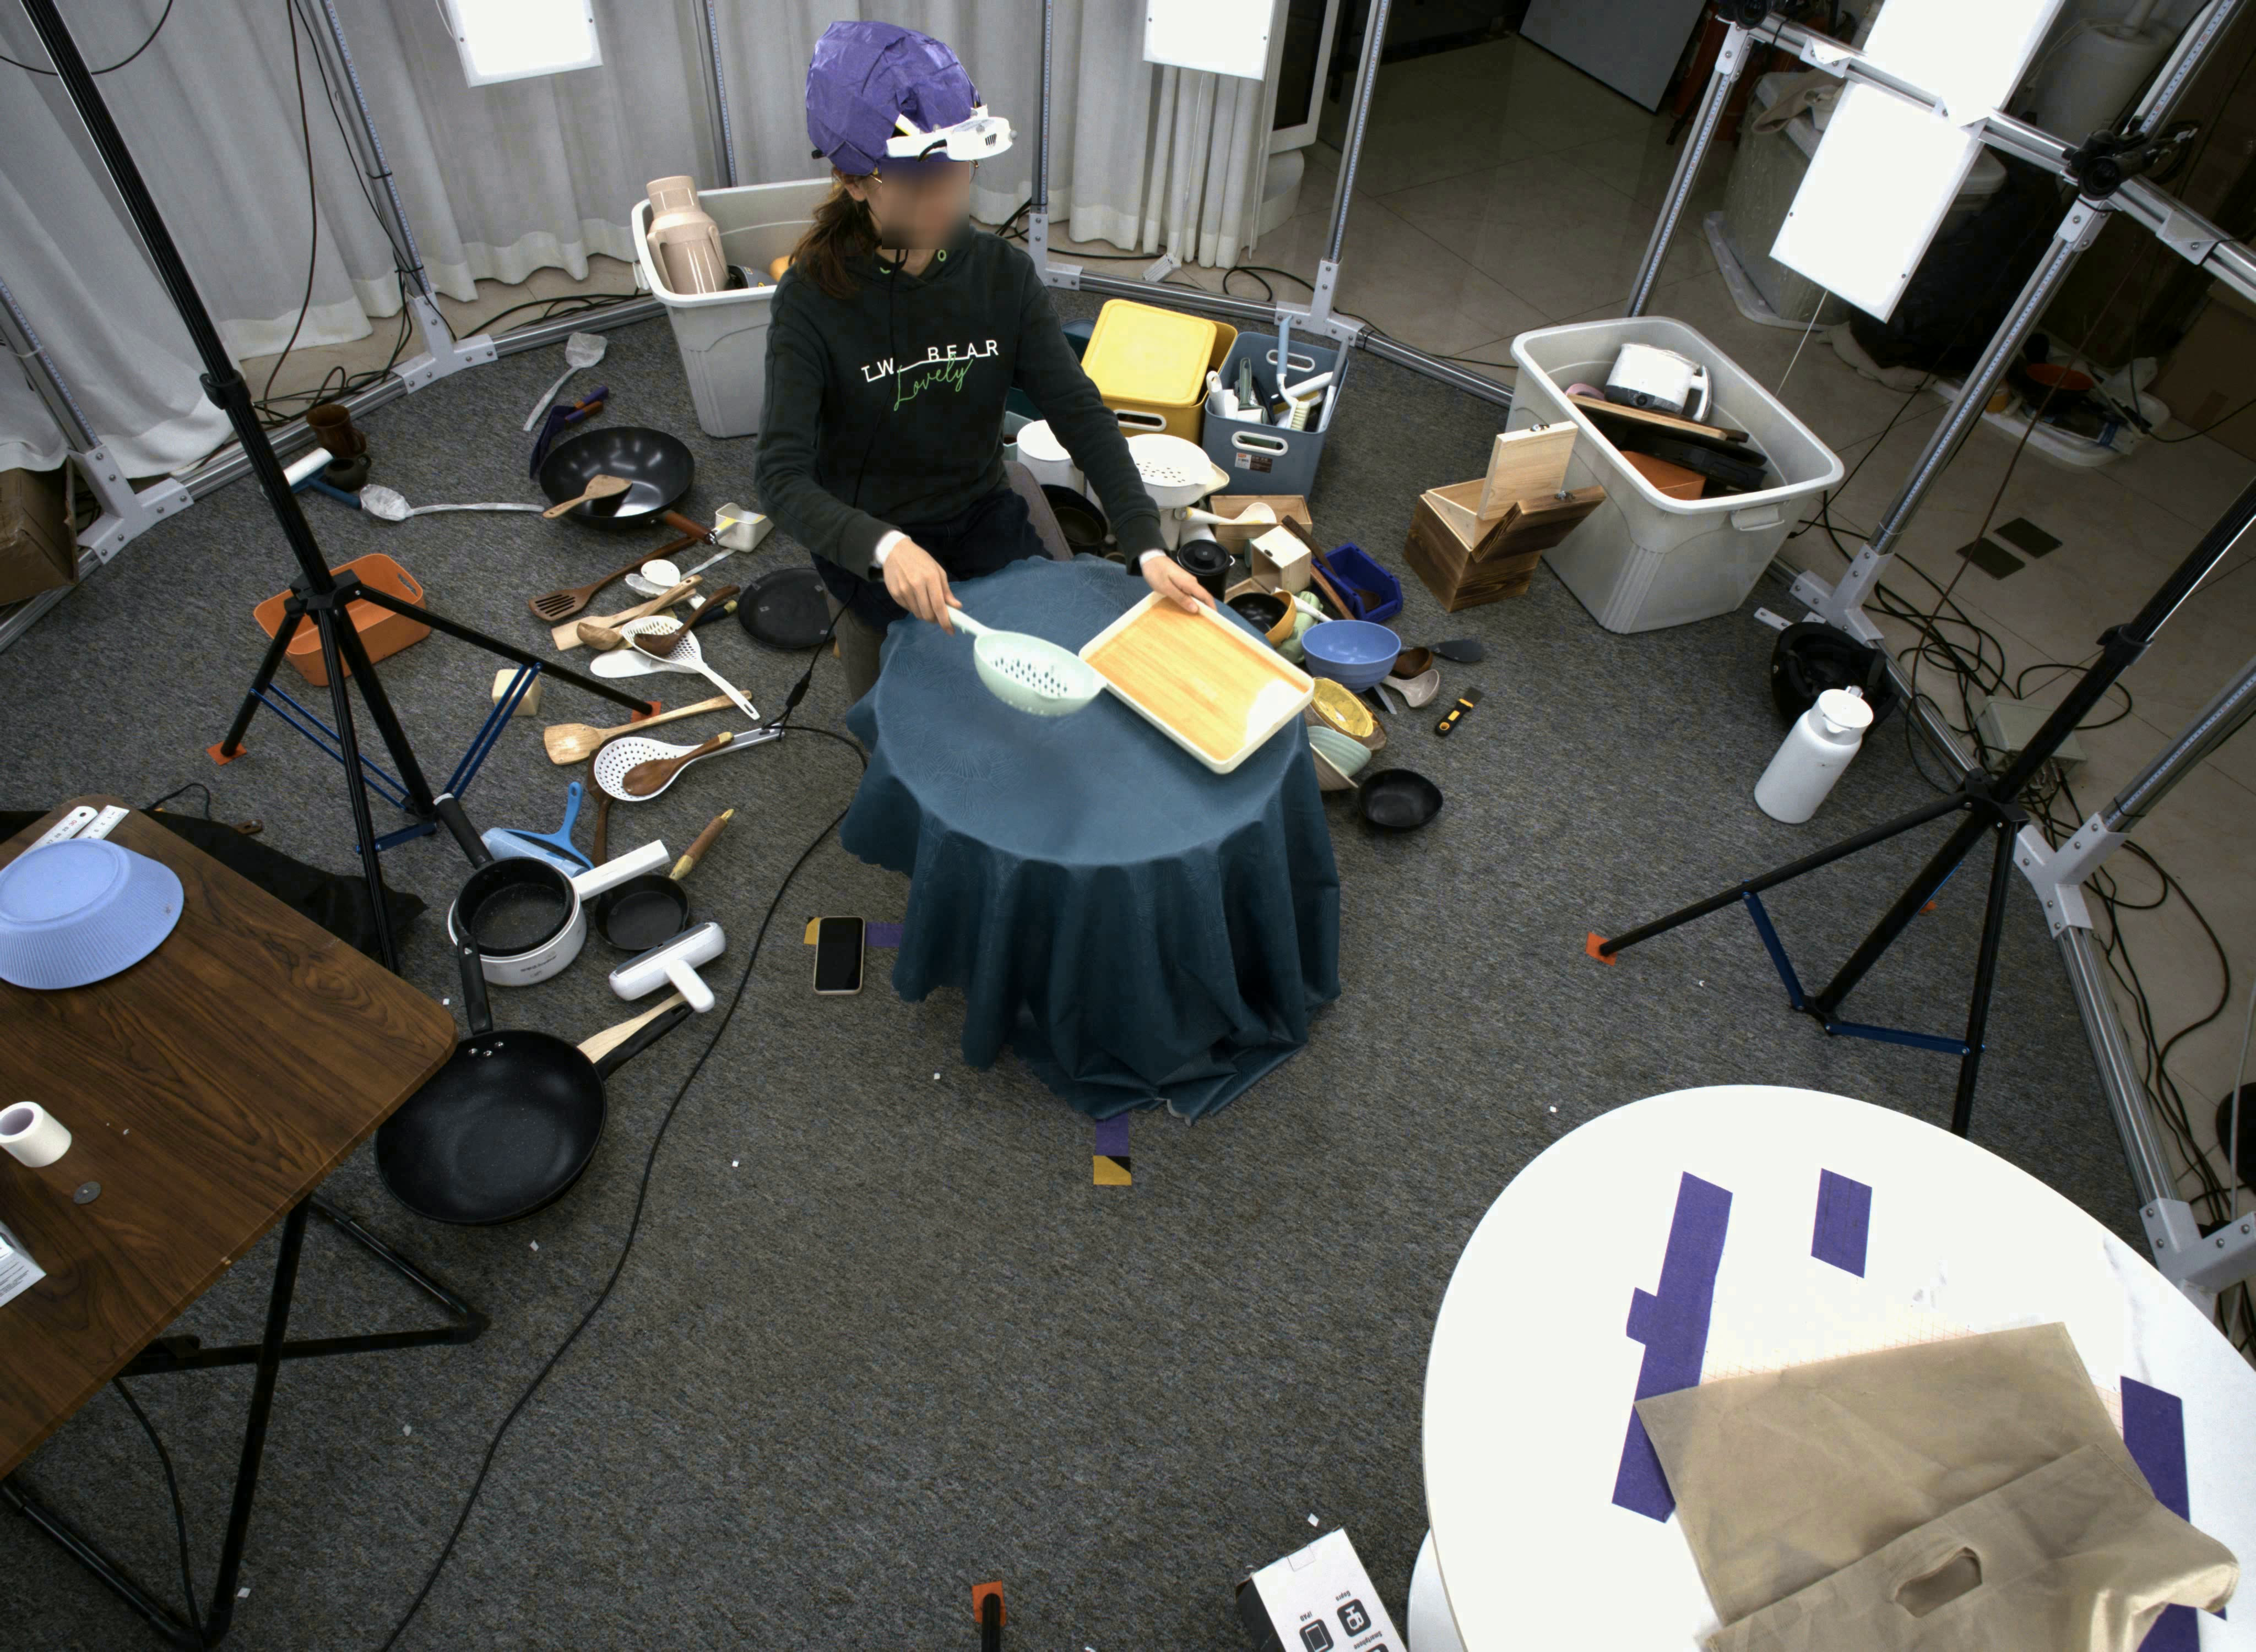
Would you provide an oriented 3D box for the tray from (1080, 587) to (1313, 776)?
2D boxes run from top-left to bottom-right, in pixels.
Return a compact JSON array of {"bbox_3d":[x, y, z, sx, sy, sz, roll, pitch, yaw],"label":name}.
[{"bbox_3d":[0.094,-0.210,1.811,0.193,0.027,0.305,-40,59,-17],"label":"tray"}]

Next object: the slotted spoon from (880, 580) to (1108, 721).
[{"bbox_3d":[-0.192,-0.243,1.685,0.363,0.074,0.170,42,30,19],"label":"slotted spoon"}]
